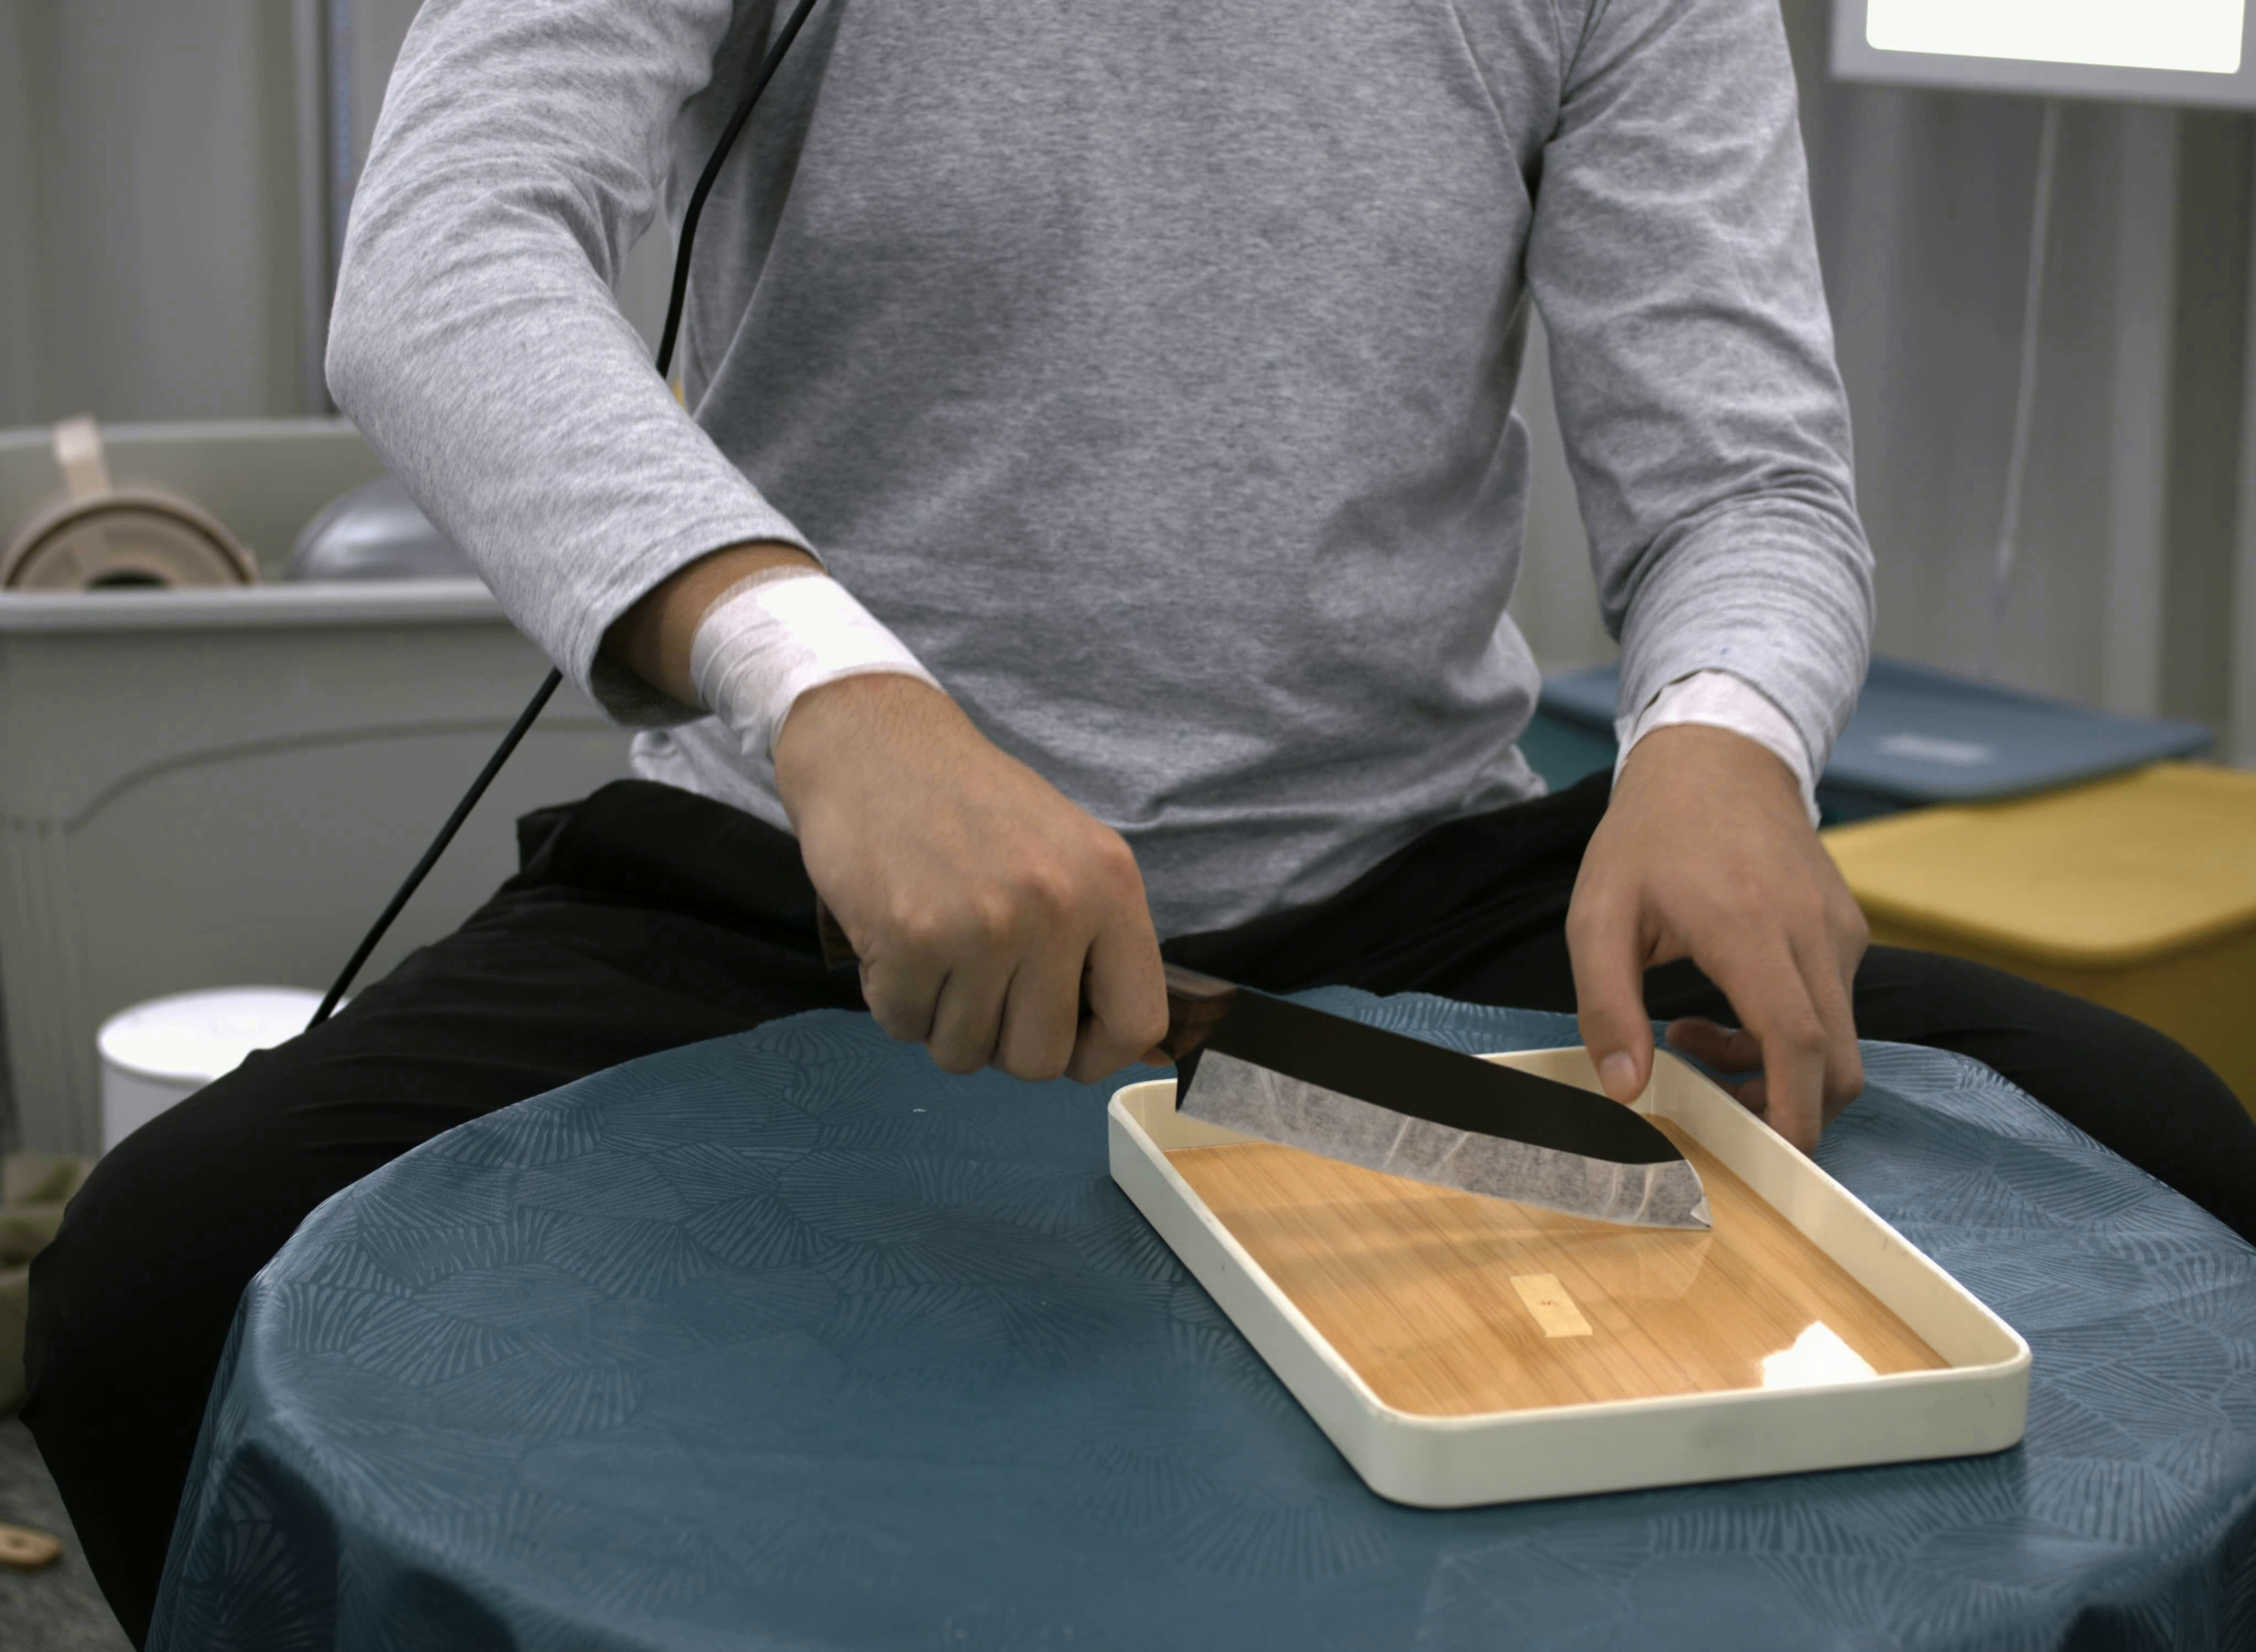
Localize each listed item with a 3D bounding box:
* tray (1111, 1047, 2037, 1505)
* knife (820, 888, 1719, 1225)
[{"bbox_3d":[0.120,0.125,1.534,0.192,0.027,0.297,-4,16,-15],"label":"tray"},{"bbox_3d":[0.043,0.070,1.550,0.290,0.050,0.020,18,19,-12],"label":"knife"}]
